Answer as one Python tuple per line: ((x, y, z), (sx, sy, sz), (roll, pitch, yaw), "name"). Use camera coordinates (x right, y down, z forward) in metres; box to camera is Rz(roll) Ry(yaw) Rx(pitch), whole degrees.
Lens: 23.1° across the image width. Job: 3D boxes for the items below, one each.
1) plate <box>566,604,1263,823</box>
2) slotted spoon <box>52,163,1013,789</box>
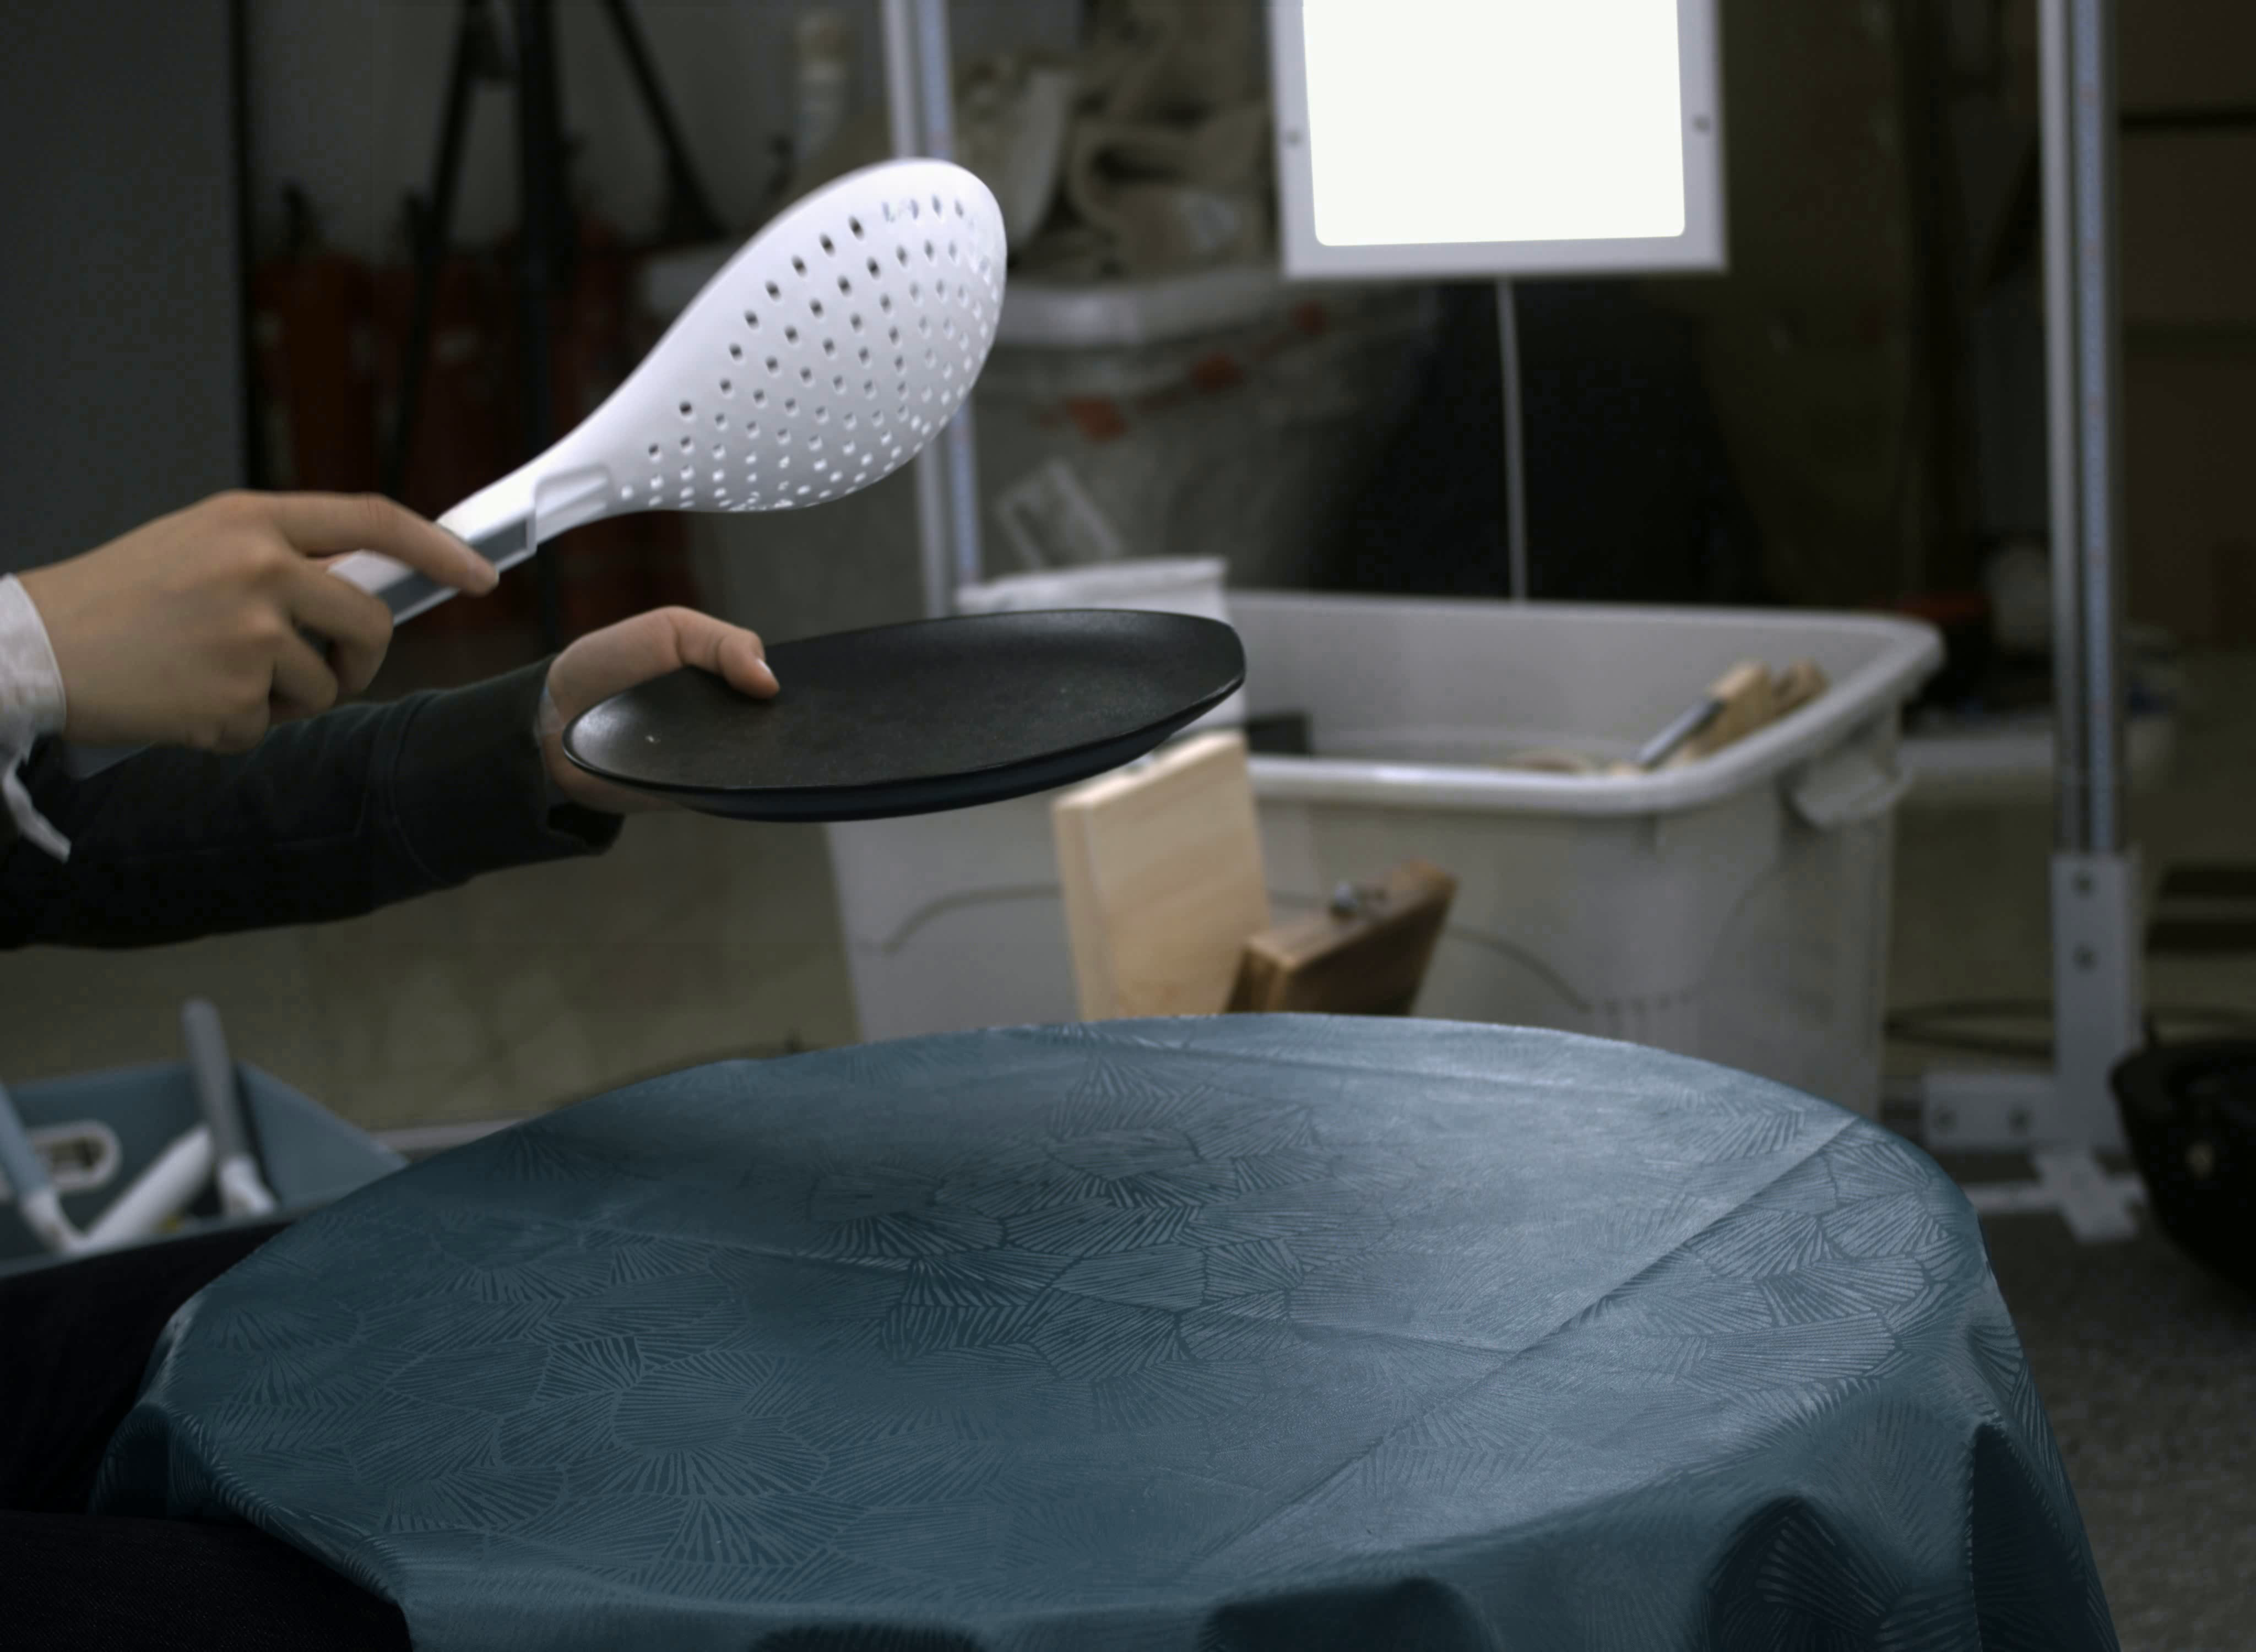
((-0.072, -0.036, 1.897), (0.244, 0.023, 0.244), (-8, 14, 1), "plate")
((-0.173, -0.100, 1.683), (0.344, 0.137, 0.046), (-25, 61, -19), "slotted spoon")
